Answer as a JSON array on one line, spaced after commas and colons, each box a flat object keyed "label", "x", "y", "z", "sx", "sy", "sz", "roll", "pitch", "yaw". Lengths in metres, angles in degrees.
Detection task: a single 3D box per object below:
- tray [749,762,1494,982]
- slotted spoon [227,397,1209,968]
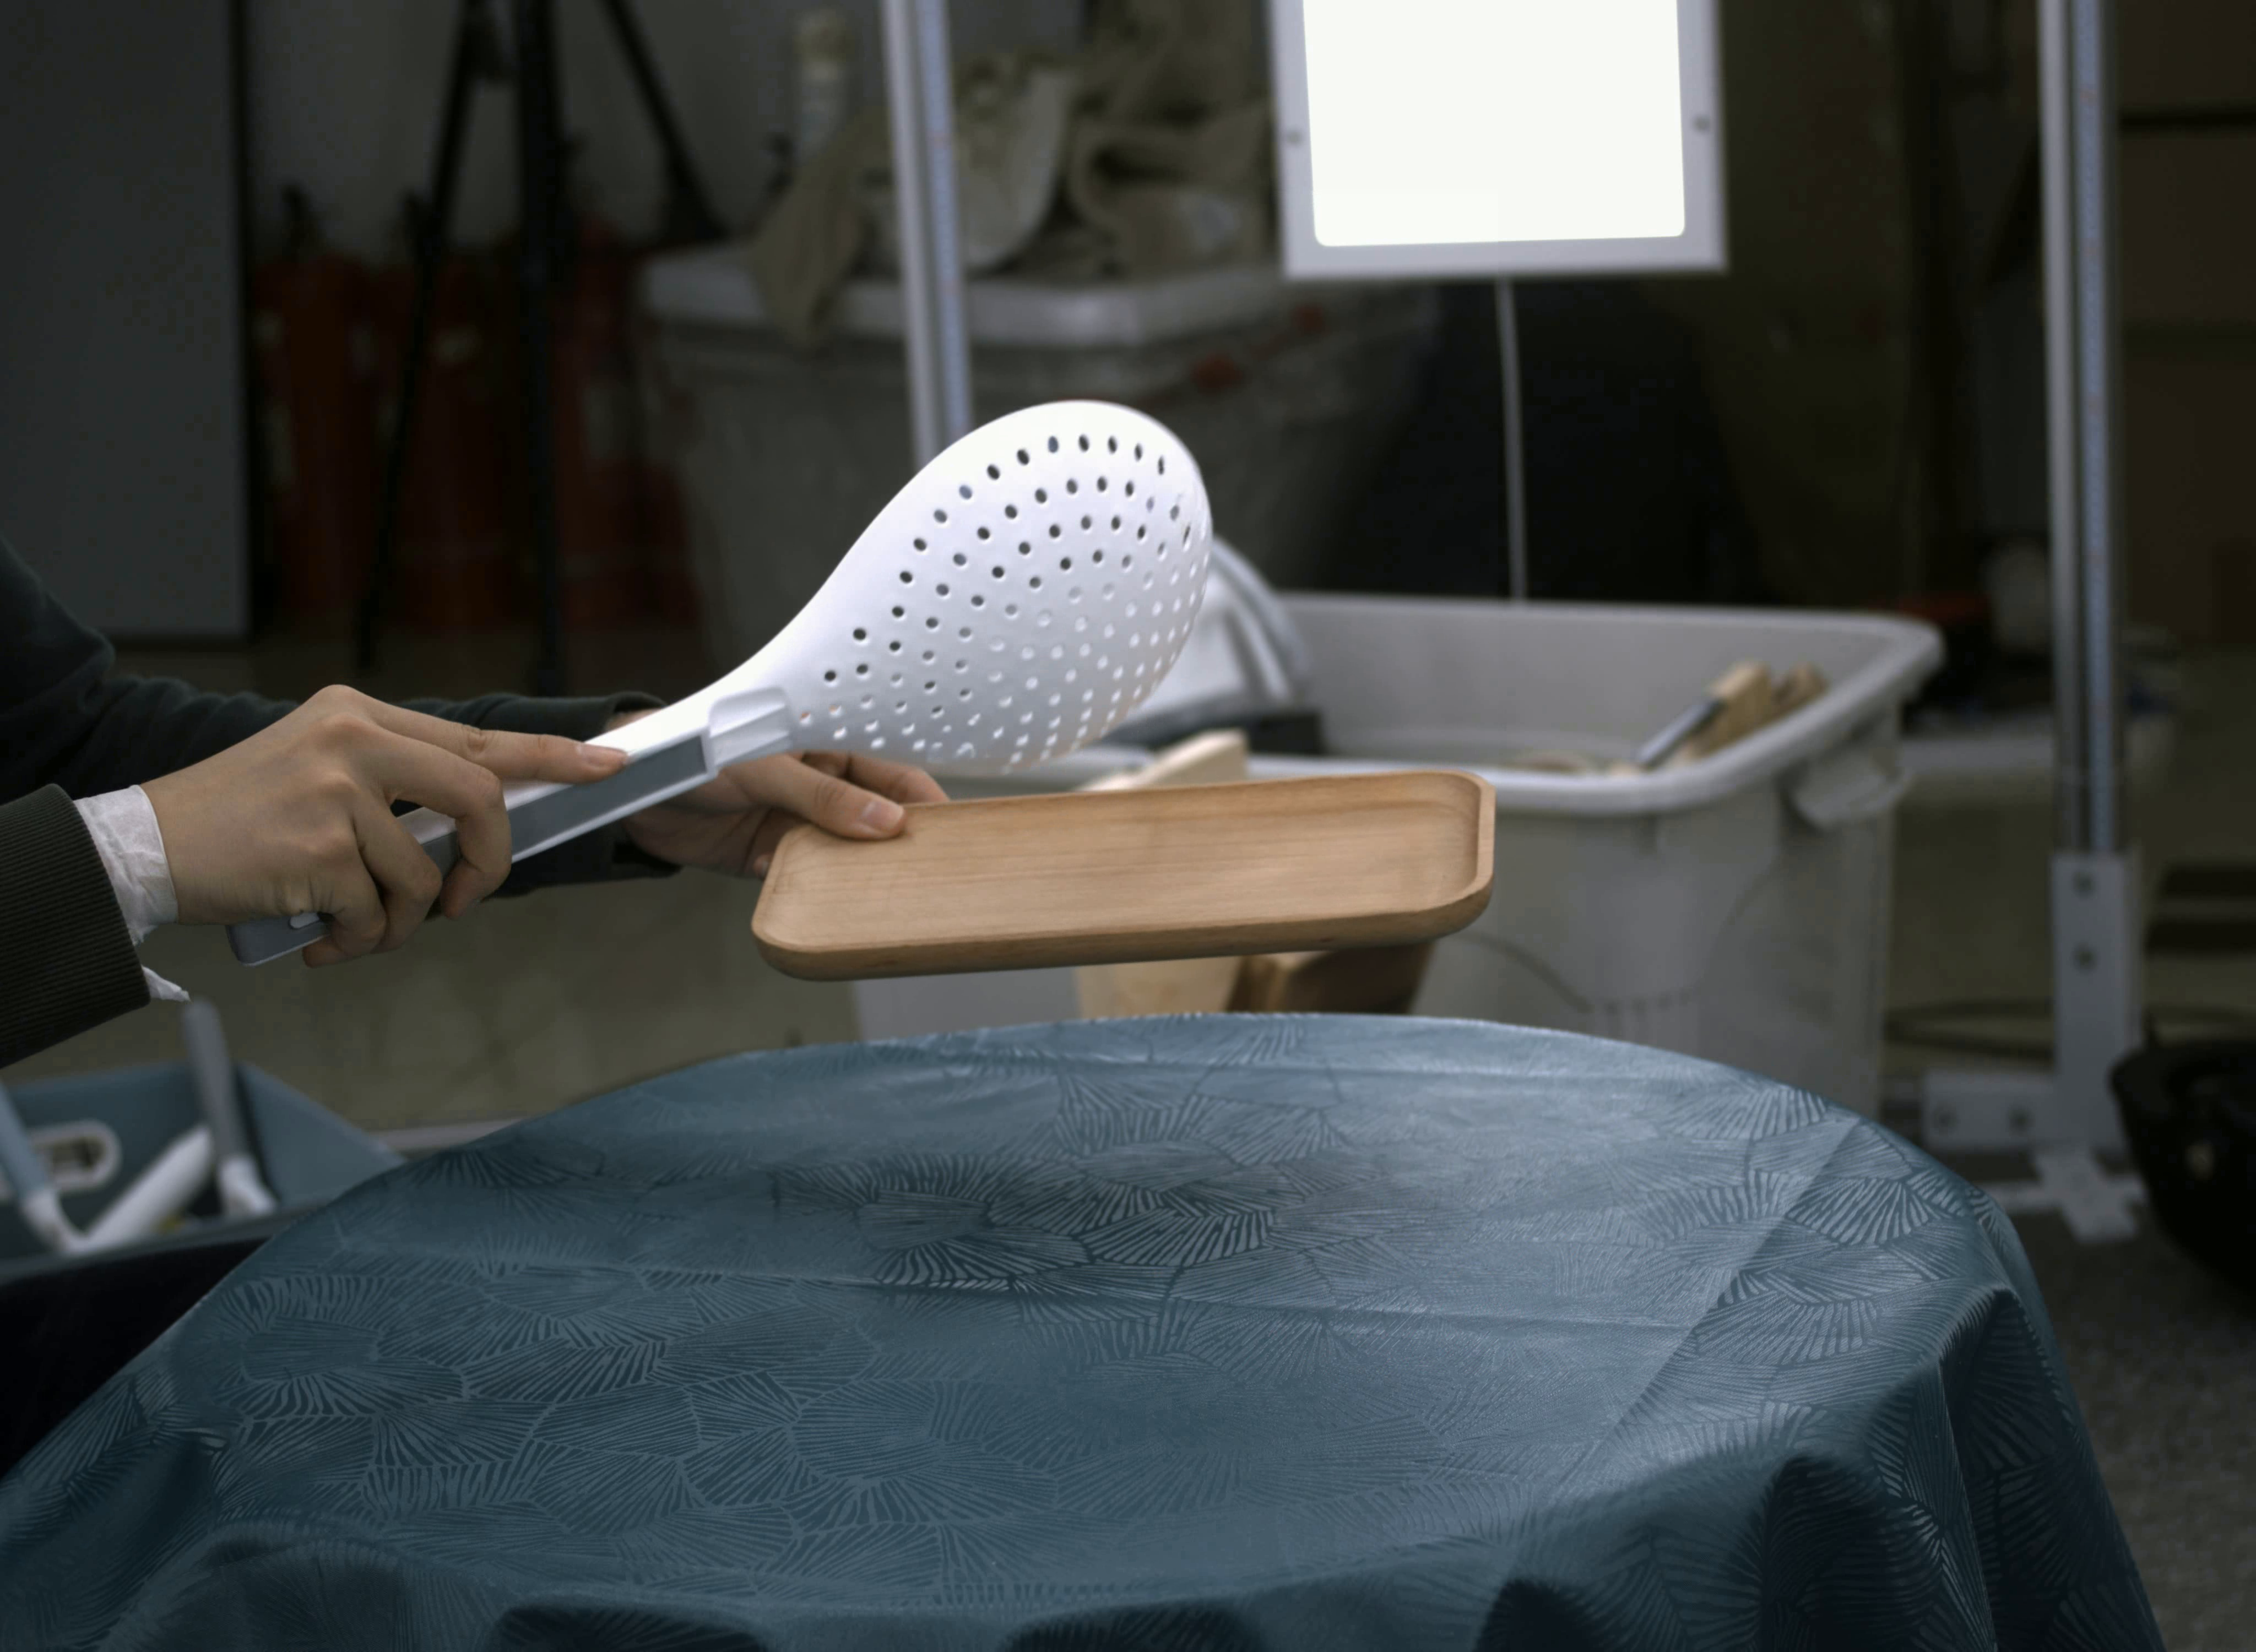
[{"label": "tray", "x": 0.000, "y": 0.016, "z": 1.866, "sx": 0.252, "sy": 0.023, "sz": 0.129, "roll": -5, "pitch": 20, "yaw": 9}, {"label": "slotted spoon", "x": -0.123, "y": -0.033, "z": 1.744, "sx": 0.345, "sy": 0.136, "sz": 0.046, "roll": -20, "pitch": 35, "yaw": -14}]
